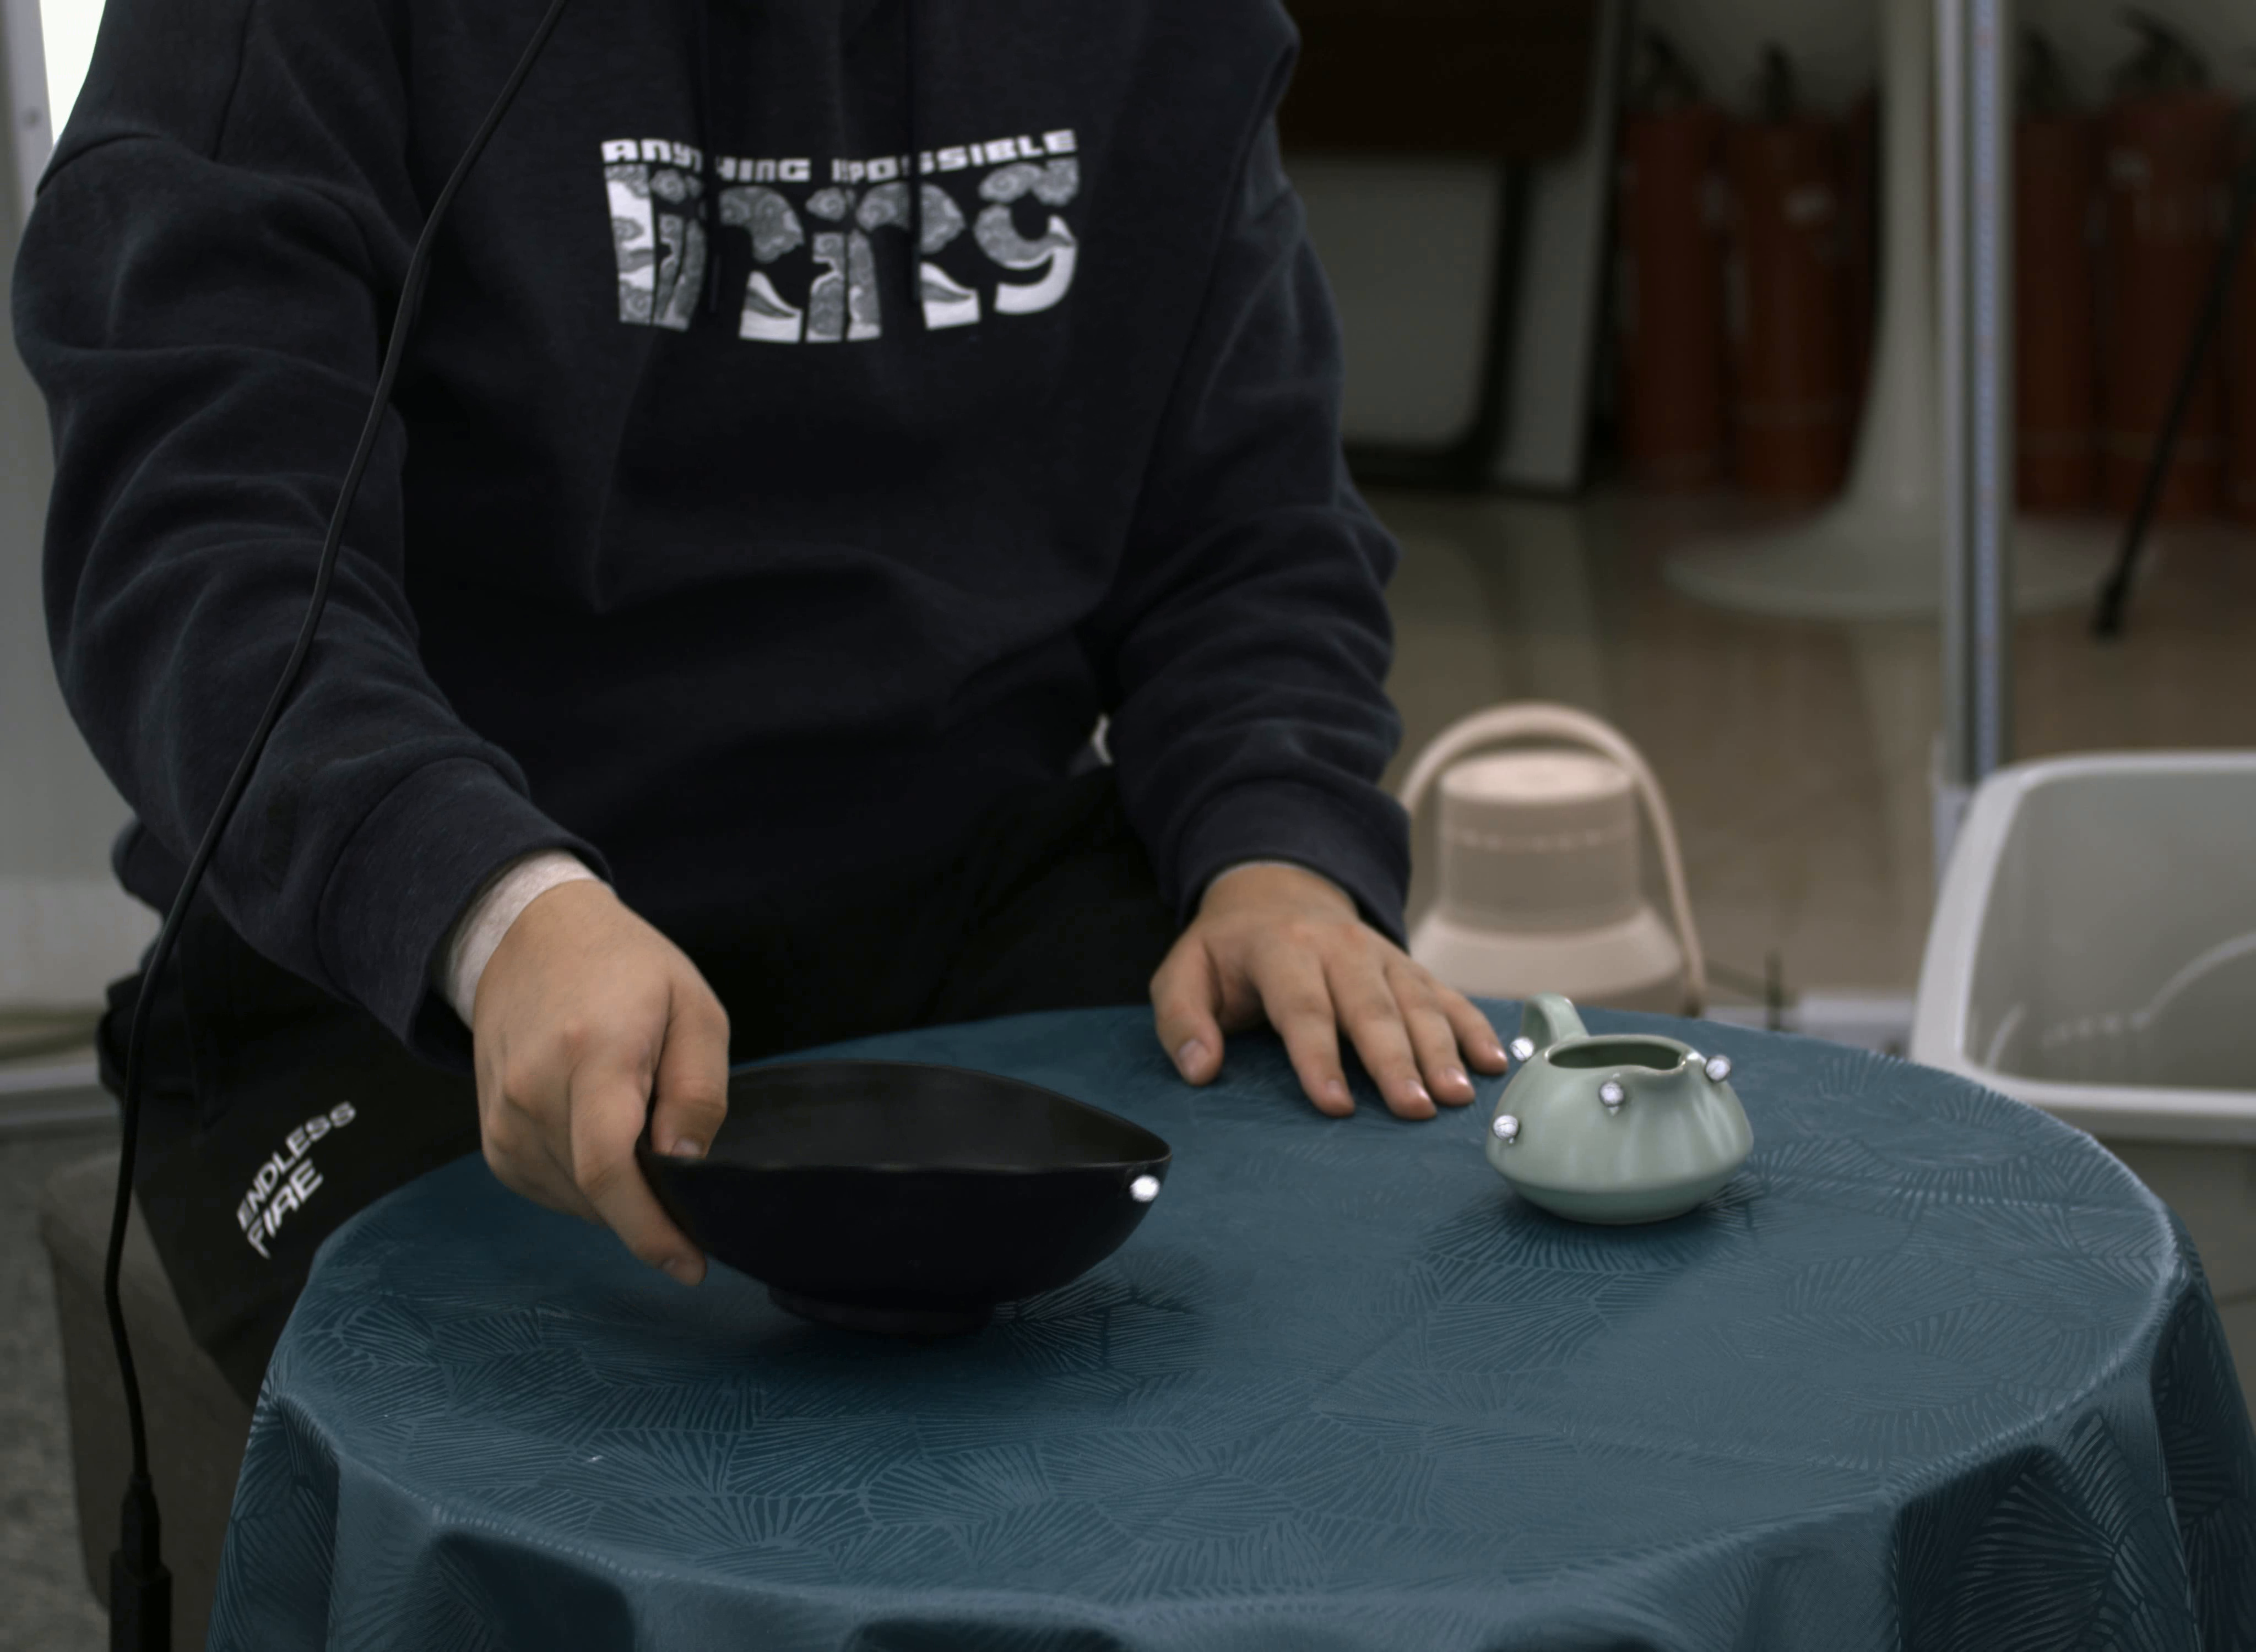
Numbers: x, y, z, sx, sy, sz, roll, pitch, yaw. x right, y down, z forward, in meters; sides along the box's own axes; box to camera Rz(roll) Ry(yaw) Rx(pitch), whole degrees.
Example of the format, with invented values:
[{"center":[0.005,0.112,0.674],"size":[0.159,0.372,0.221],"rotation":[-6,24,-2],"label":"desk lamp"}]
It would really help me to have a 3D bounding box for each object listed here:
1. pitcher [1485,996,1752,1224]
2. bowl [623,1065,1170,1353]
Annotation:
[{"center":[0.152,0.092,1.734],"size":[0.084,0.061,0.109],"rotation":[-8,12,-21],"label":"pitcher"},{"center":[-0.070,0.120,1.642],"size":[0.166,0.067,0.138],"rotation":[1,10,-20],"label":"bowl"}]
